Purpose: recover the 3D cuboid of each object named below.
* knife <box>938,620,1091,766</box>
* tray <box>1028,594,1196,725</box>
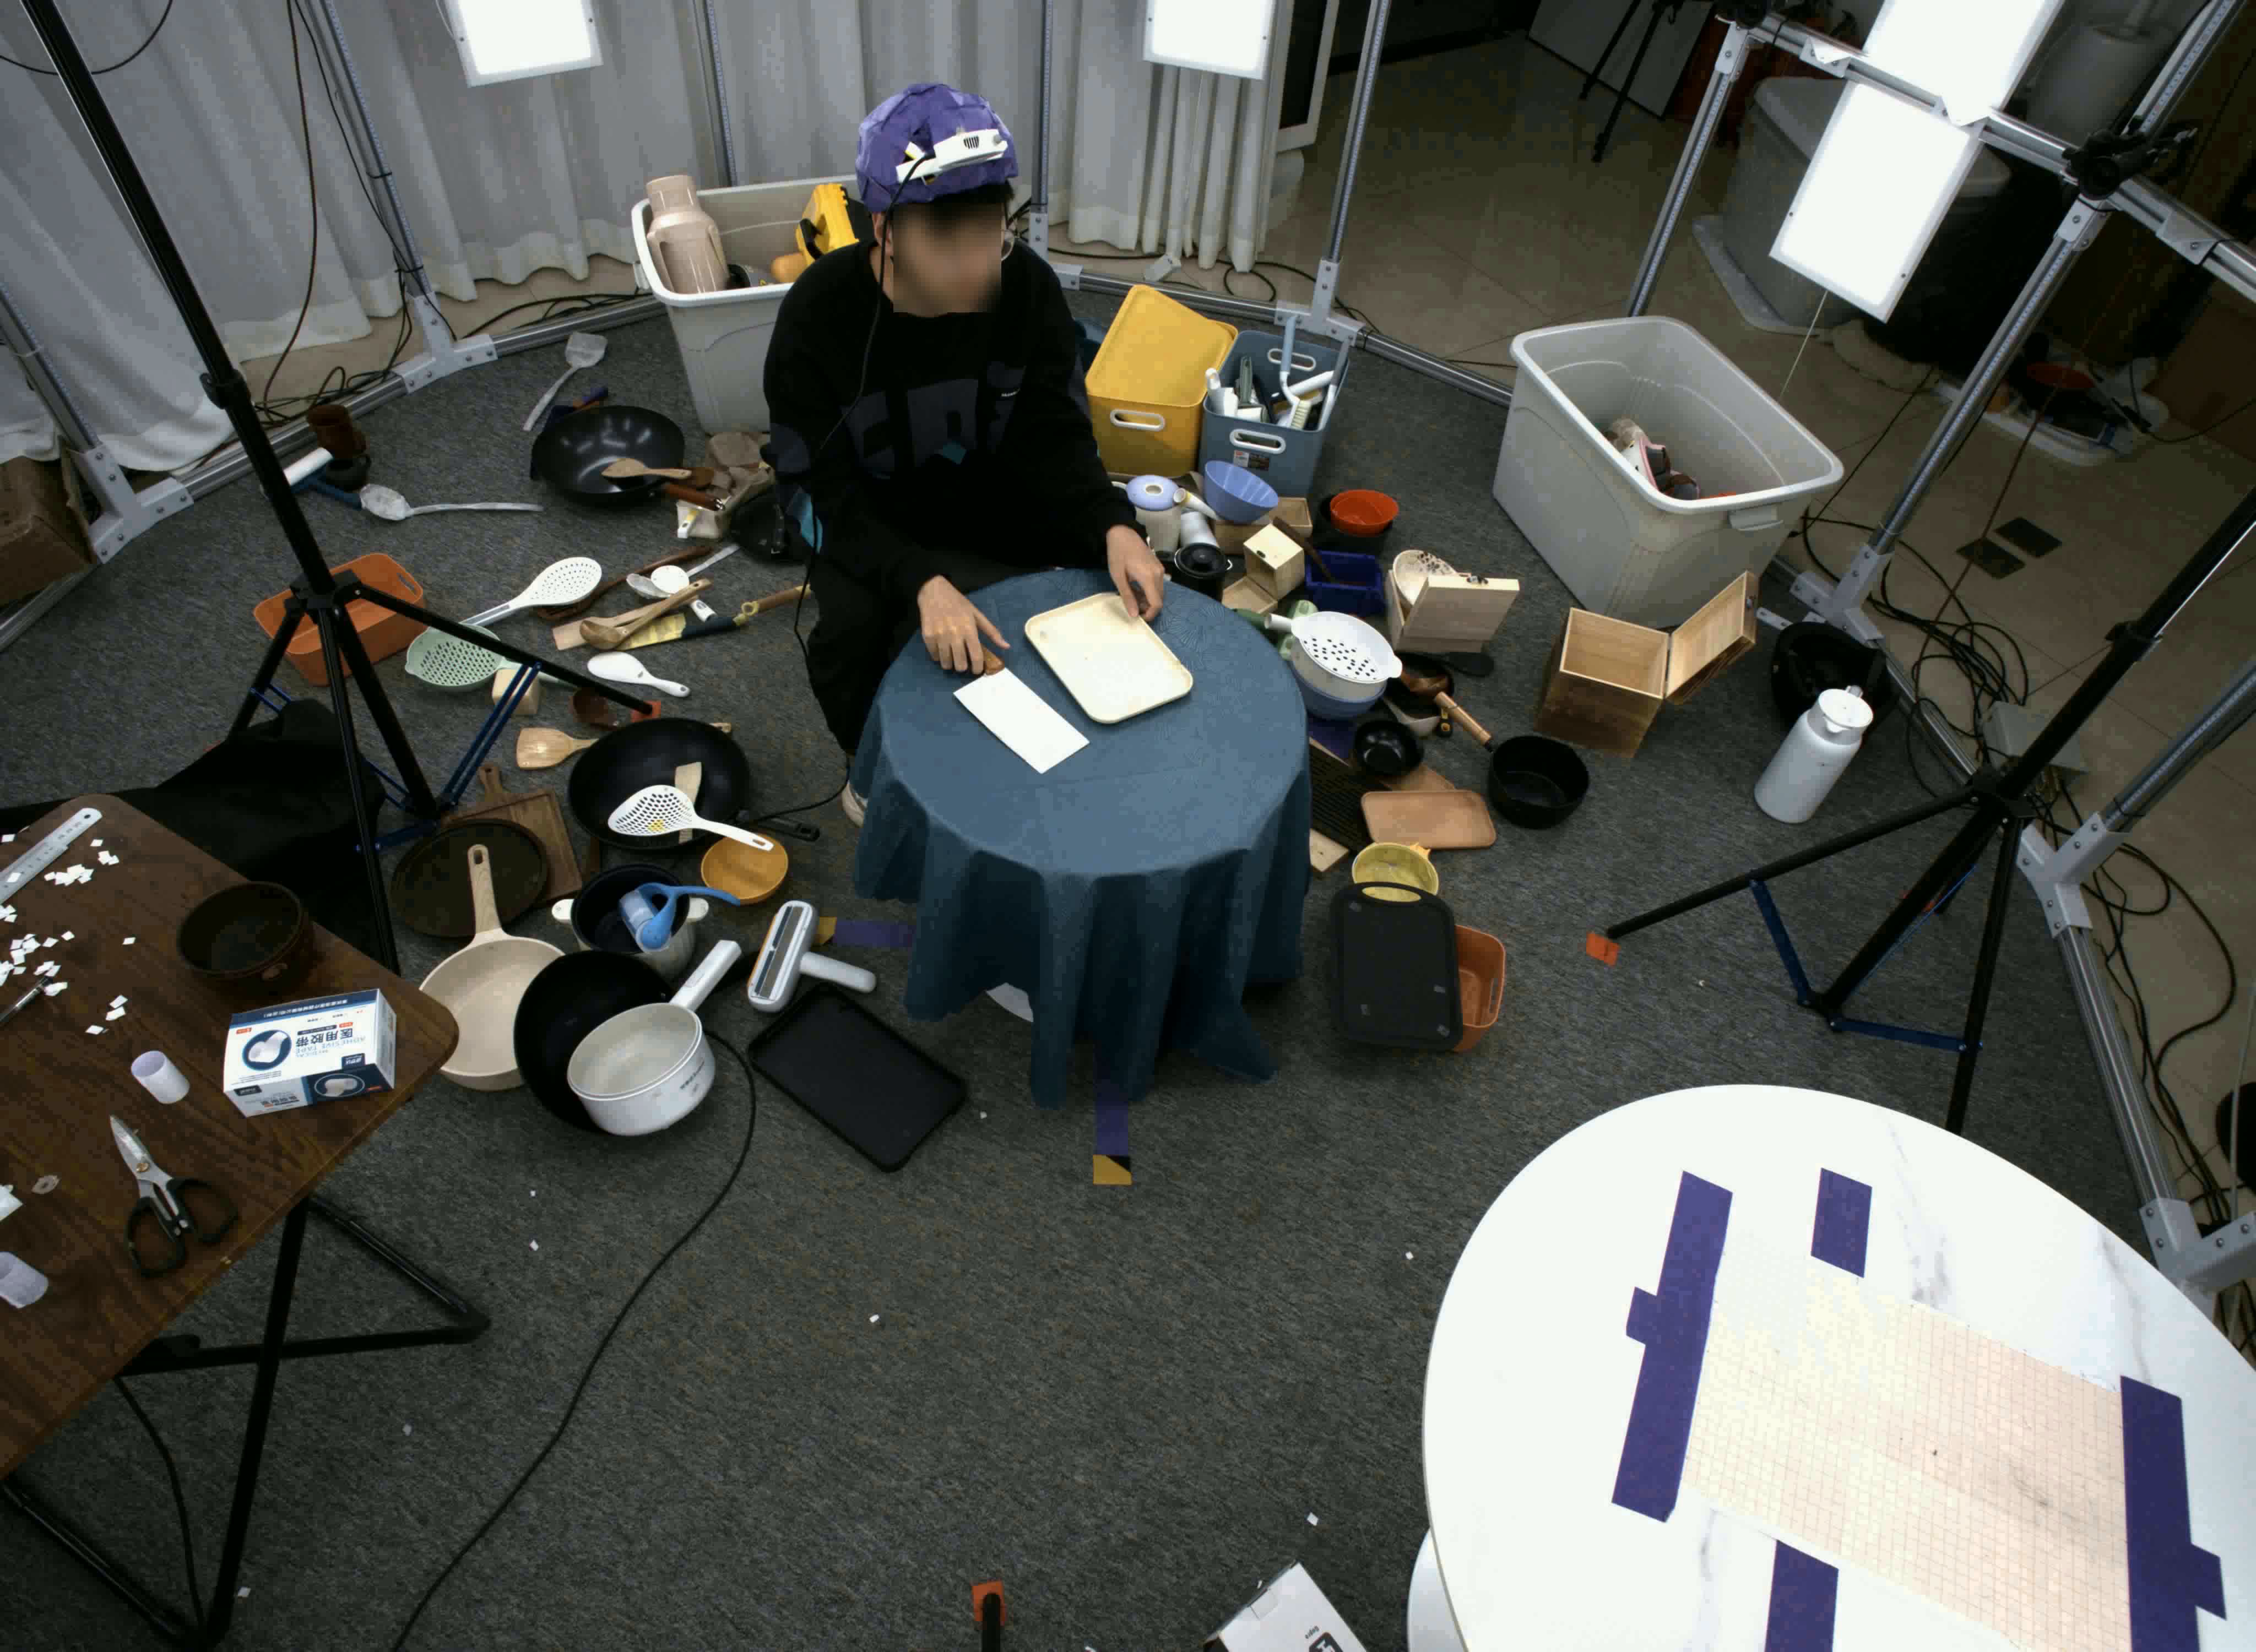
[{"bbox_3d":[-0.182,-0.187,1.809,0.093,0.020,0.310,-34,61,-27],"label":"knife"},{"bbox_3d":[-0.025,-0.244,1.867,0.172,0.017,0.245,-23,54,-21],"label":"tray"}]
